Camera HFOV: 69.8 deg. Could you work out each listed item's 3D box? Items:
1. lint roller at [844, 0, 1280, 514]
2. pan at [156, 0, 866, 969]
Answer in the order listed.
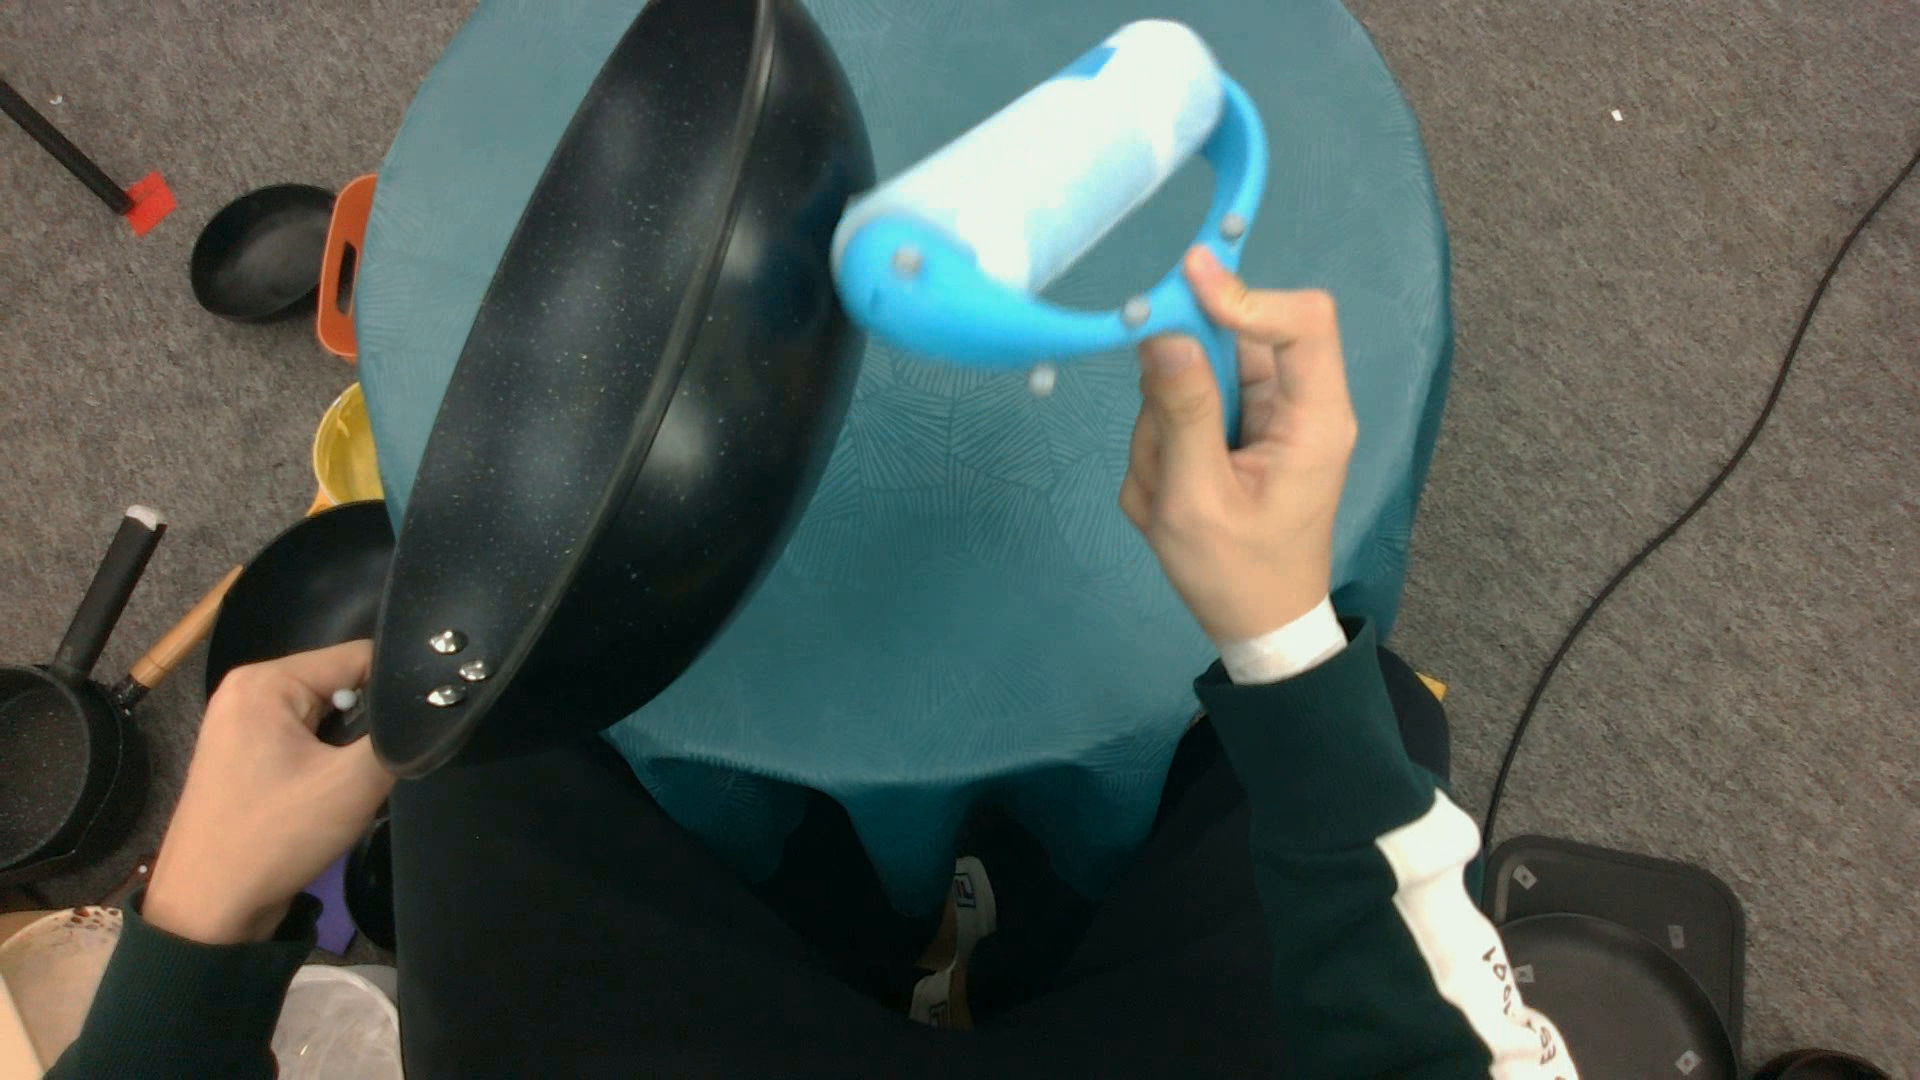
[{"bbox_3d":[0.063,-0.096,0.485,0.230,0.067,0.180,-45,115,-46],"label":"lint roller"},{"bbox_3d":[-0.170,-0.002,0.527,0.112,0.311,0.475,22,110,-30],"label":"pan"}]
